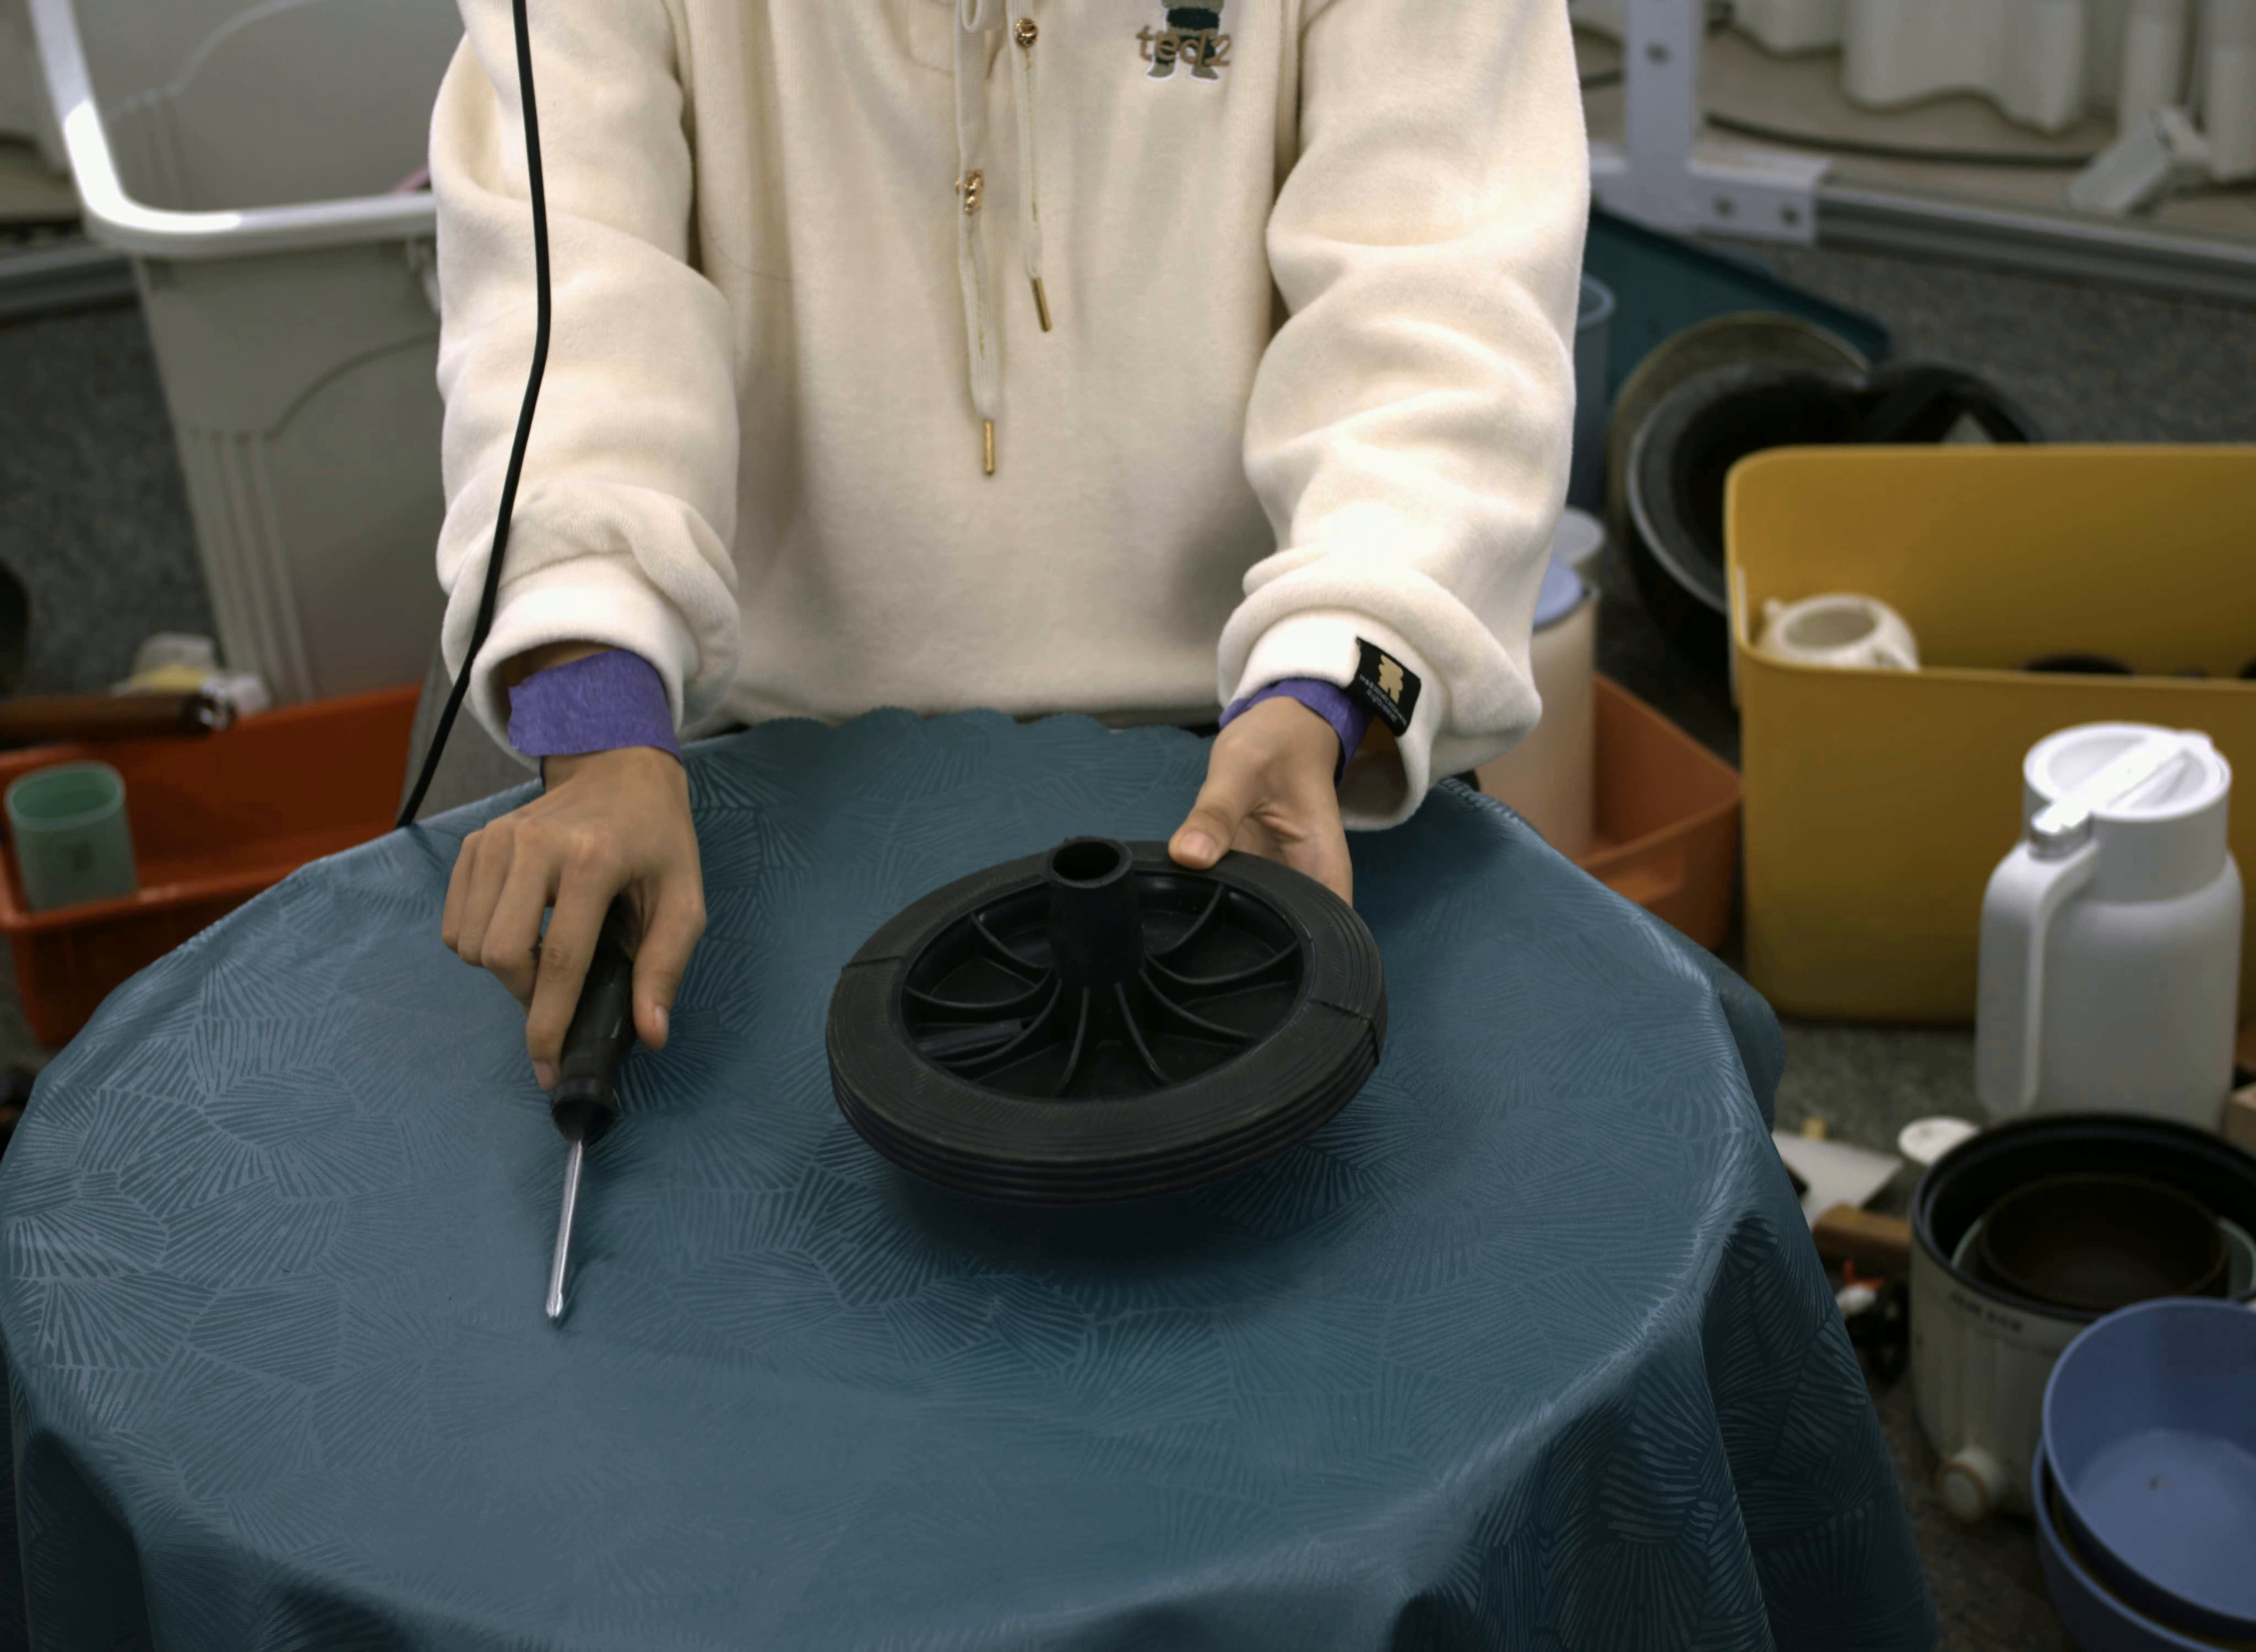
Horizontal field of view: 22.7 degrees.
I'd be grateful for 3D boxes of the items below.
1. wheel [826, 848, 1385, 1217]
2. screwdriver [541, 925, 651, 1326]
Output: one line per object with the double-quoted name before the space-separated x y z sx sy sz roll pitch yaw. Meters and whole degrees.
"wheel" -0.011 0.049 1.859 0.191 0.078 0.188 -27 36 -27
"screwdriver" -0.179 0.099 1.878 0.031 0.031 0.200 -2 36 1
